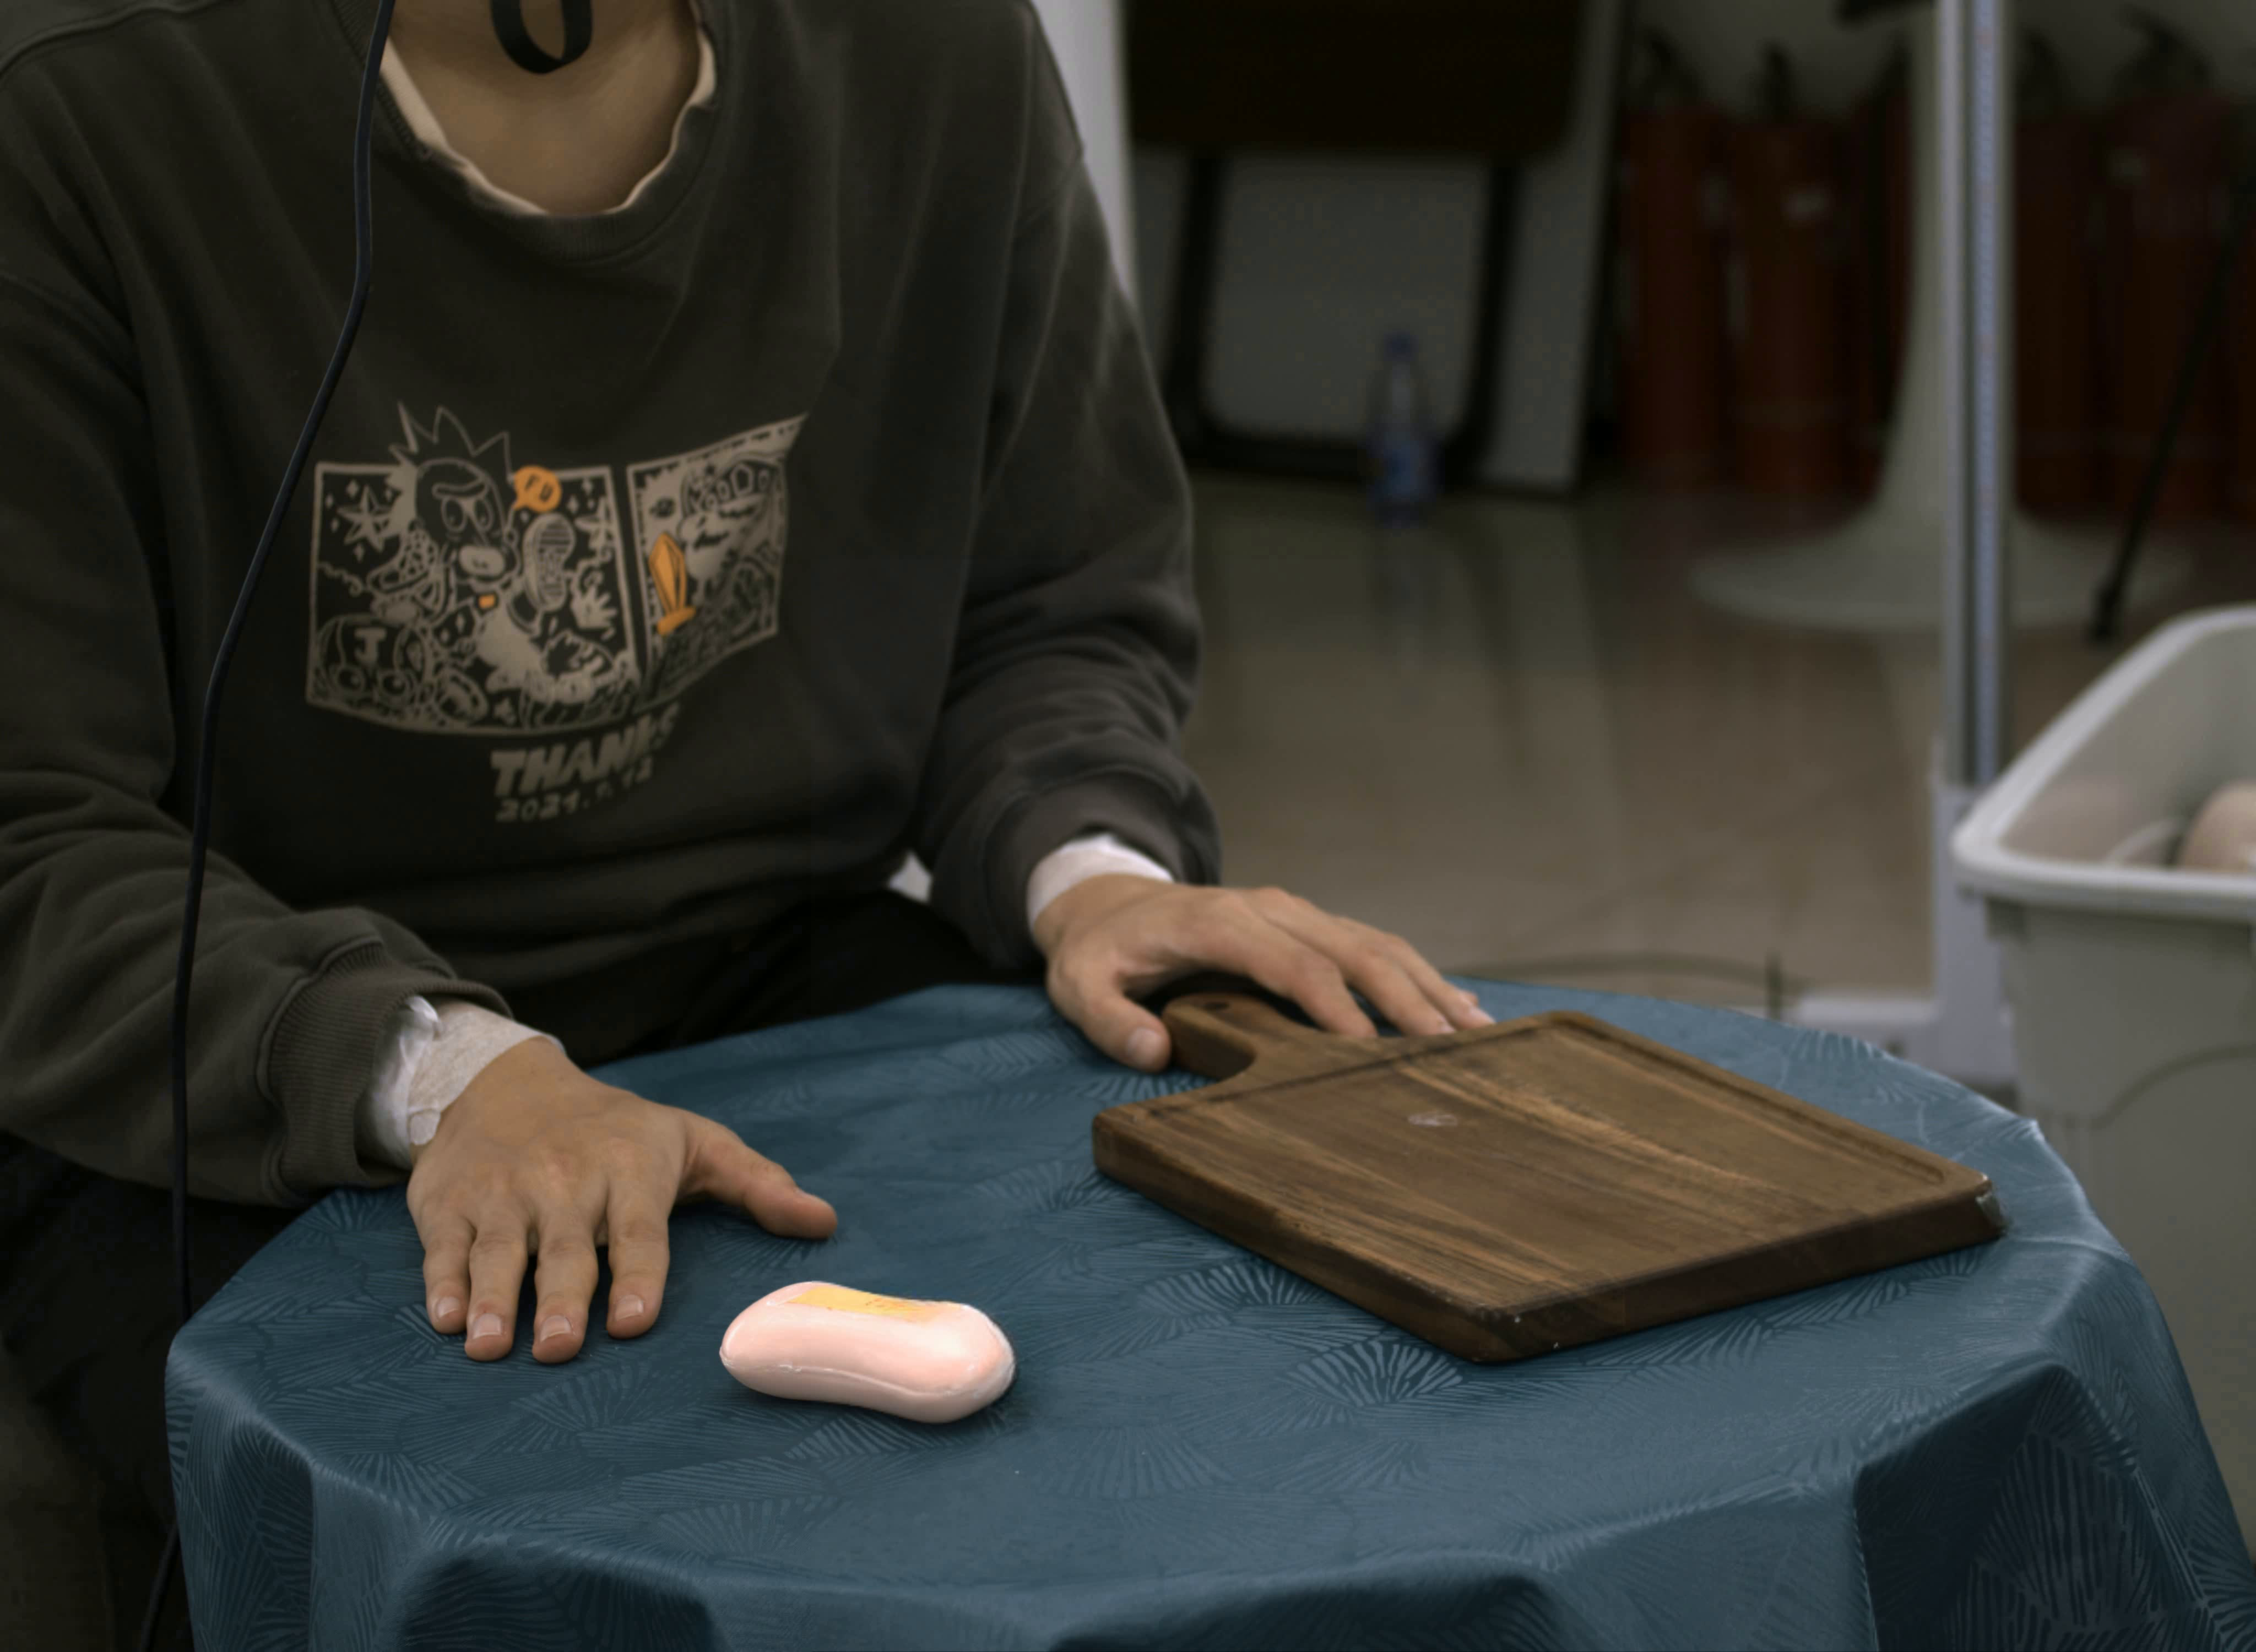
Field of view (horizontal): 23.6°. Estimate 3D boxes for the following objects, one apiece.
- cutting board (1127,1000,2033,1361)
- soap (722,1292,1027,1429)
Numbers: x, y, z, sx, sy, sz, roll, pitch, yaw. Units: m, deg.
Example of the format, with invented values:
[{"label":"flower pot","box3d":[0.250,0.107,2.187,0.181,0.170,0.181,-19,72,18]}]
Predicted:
[{"label":"cutting board","box3d":[0.118,0.103,1.774,0.197,0.023,0.356,-11,15,-25]},{"label":"soap","box3d":[-0.075,0.157,1.592,0.095,0.031,0.049,3,14,35]}]
